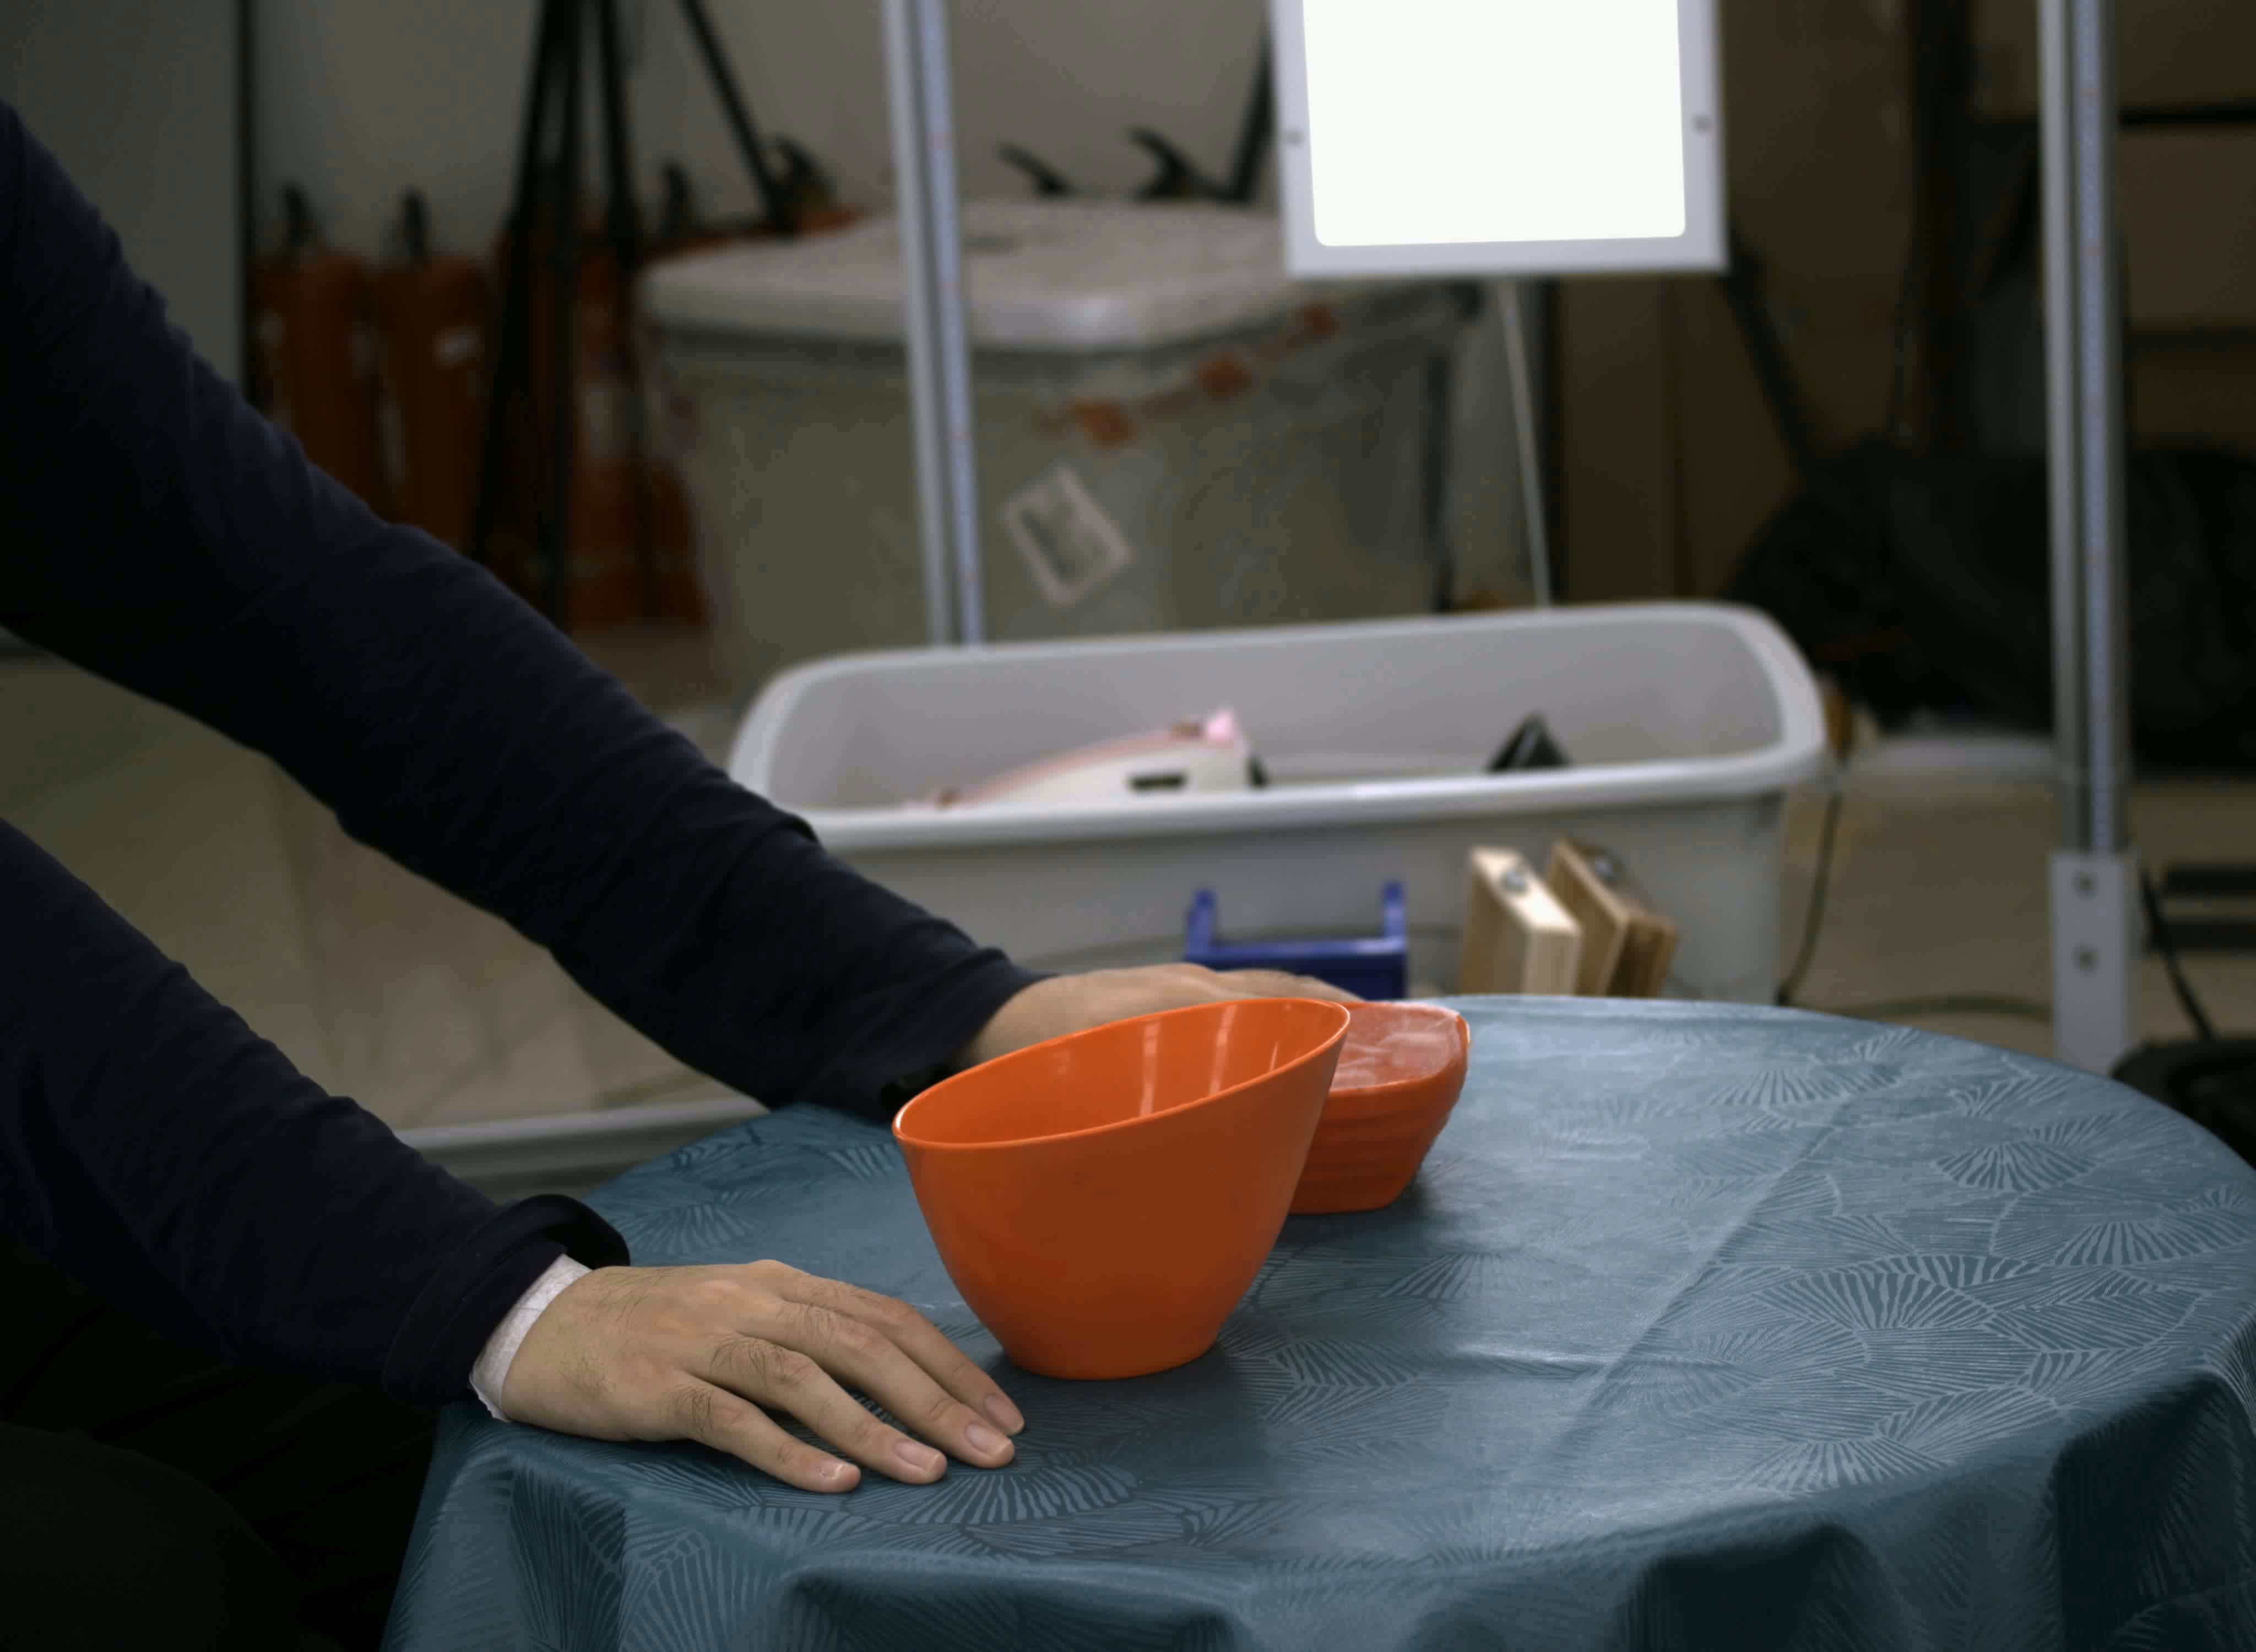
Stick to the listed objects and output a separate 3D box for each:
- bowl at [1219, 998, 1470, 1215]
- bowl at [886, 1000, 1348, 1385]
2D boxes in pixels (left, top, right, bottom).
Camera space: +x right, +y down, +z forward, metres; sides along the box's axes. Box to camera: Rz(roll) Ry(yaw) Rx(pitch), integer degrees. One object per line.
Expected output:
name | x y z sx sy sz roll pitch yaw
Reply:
bowl | 0.064 0.099 1.888 0.118 0.051 0.119 -6 15 0
bowl | -0.001 0.116 1.730 0.147 0.105 0.148 -5 14 0
